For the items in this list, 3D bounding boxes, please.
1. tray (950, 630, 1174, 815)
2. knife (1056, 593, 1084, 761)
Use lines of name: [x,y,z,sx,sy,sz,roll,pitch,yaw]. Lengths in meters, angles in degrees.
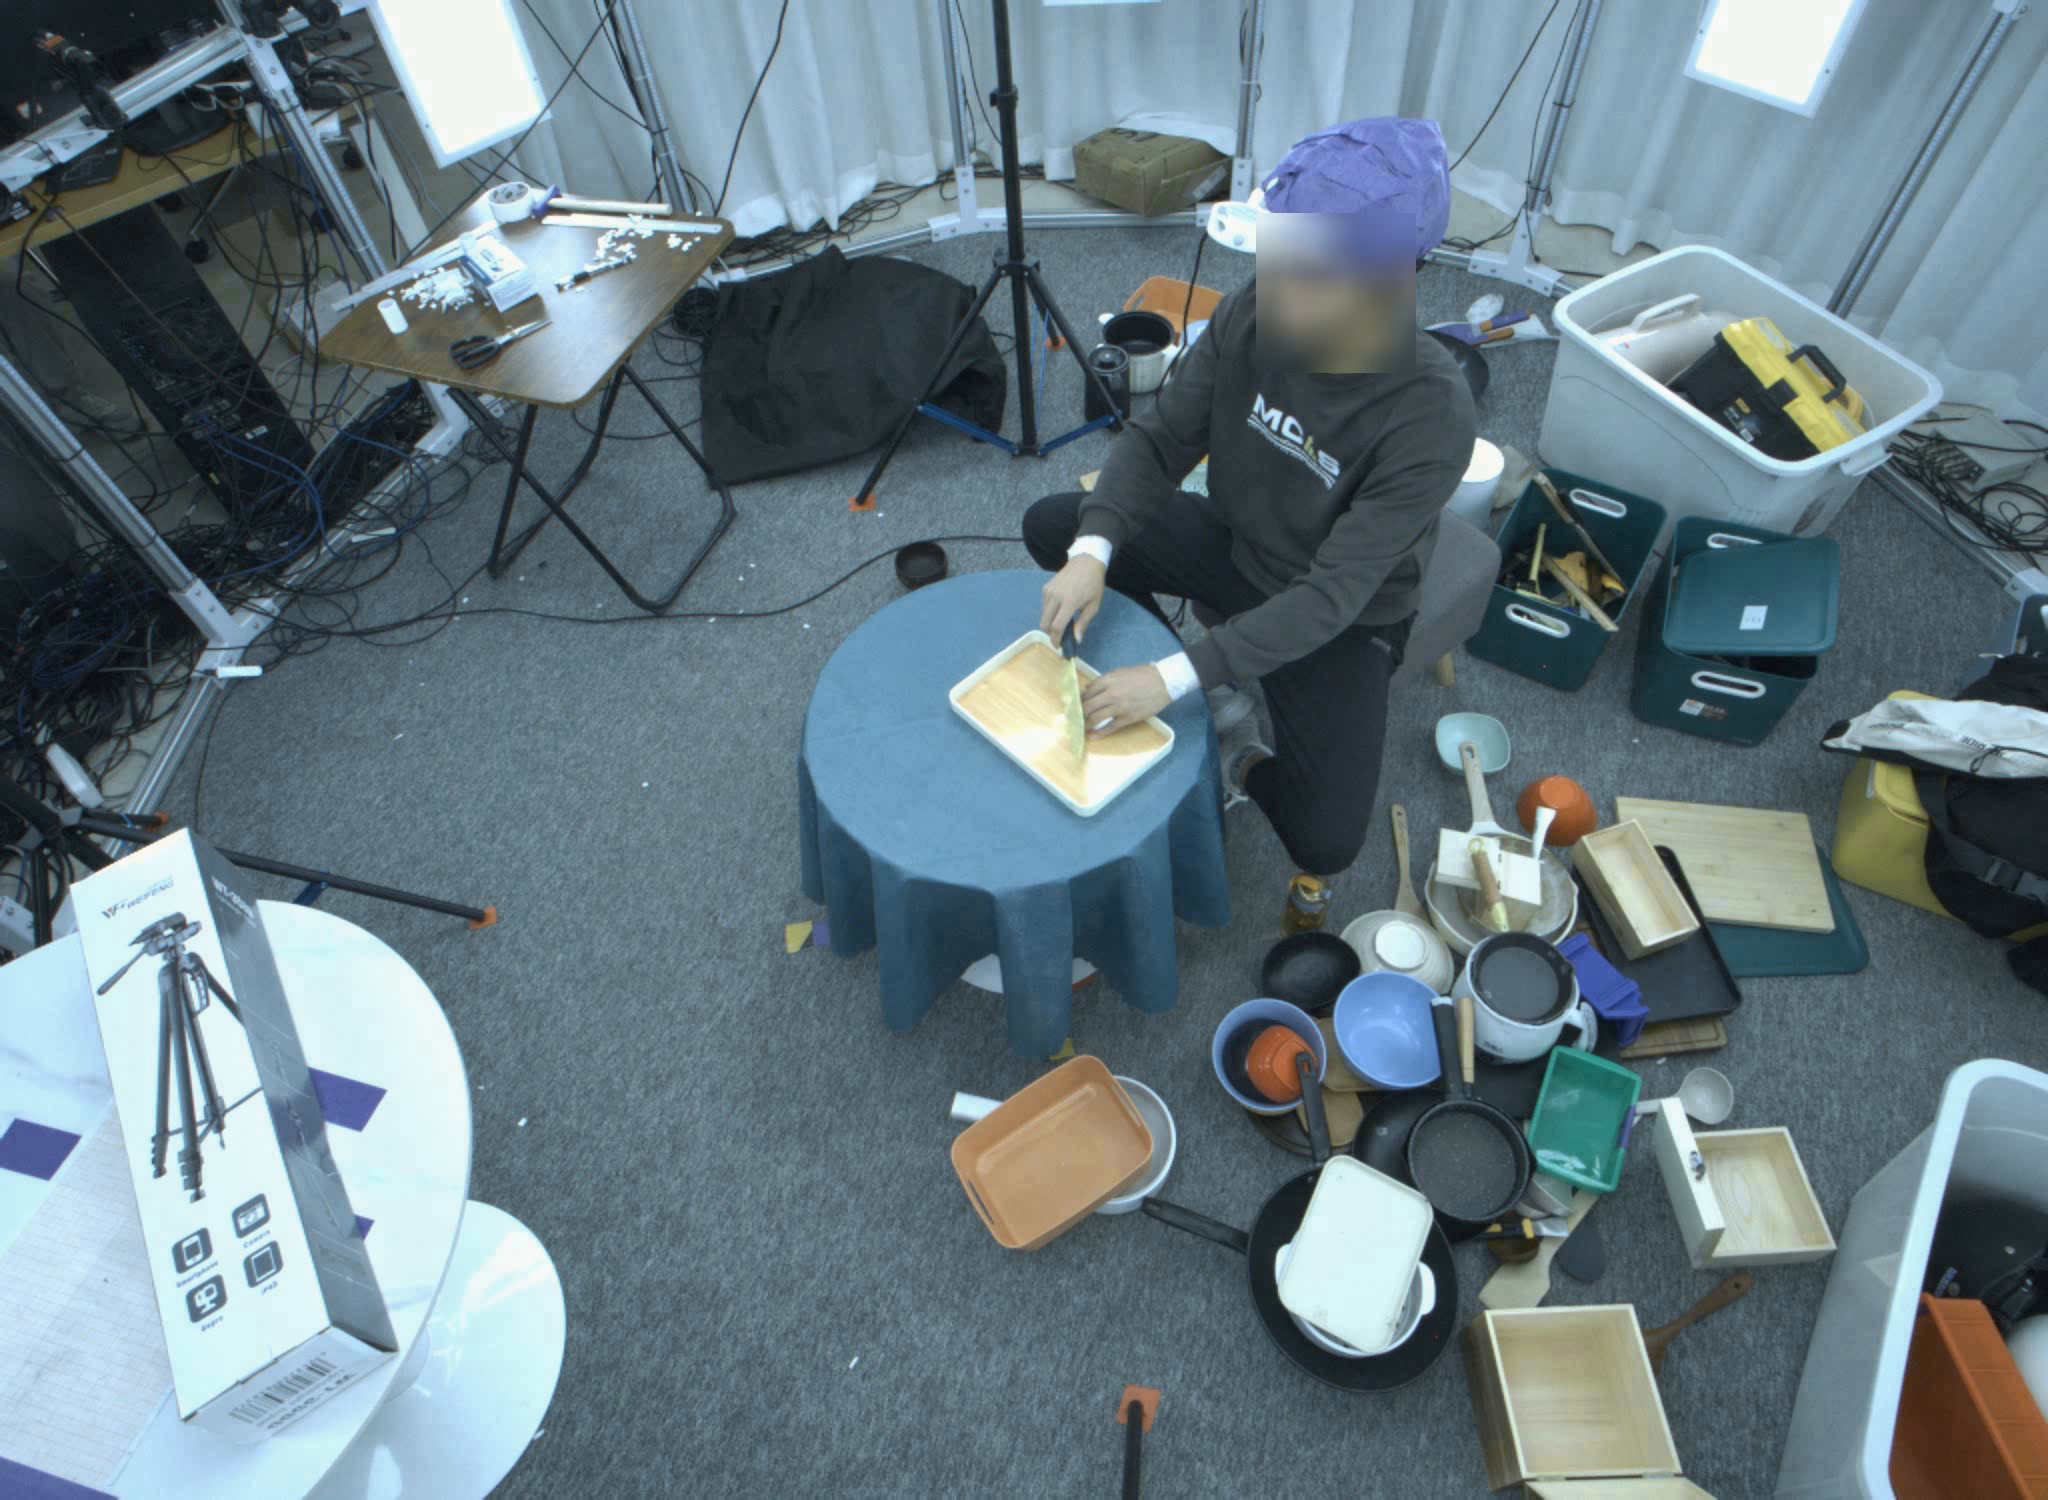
tray: [0.053,-0.046,1.811,0.193,0.027,0.295,-38,62,-24]
knife: [0.066,-0.109,1.812,0.027,0.081,0.286,4,59,-15]
